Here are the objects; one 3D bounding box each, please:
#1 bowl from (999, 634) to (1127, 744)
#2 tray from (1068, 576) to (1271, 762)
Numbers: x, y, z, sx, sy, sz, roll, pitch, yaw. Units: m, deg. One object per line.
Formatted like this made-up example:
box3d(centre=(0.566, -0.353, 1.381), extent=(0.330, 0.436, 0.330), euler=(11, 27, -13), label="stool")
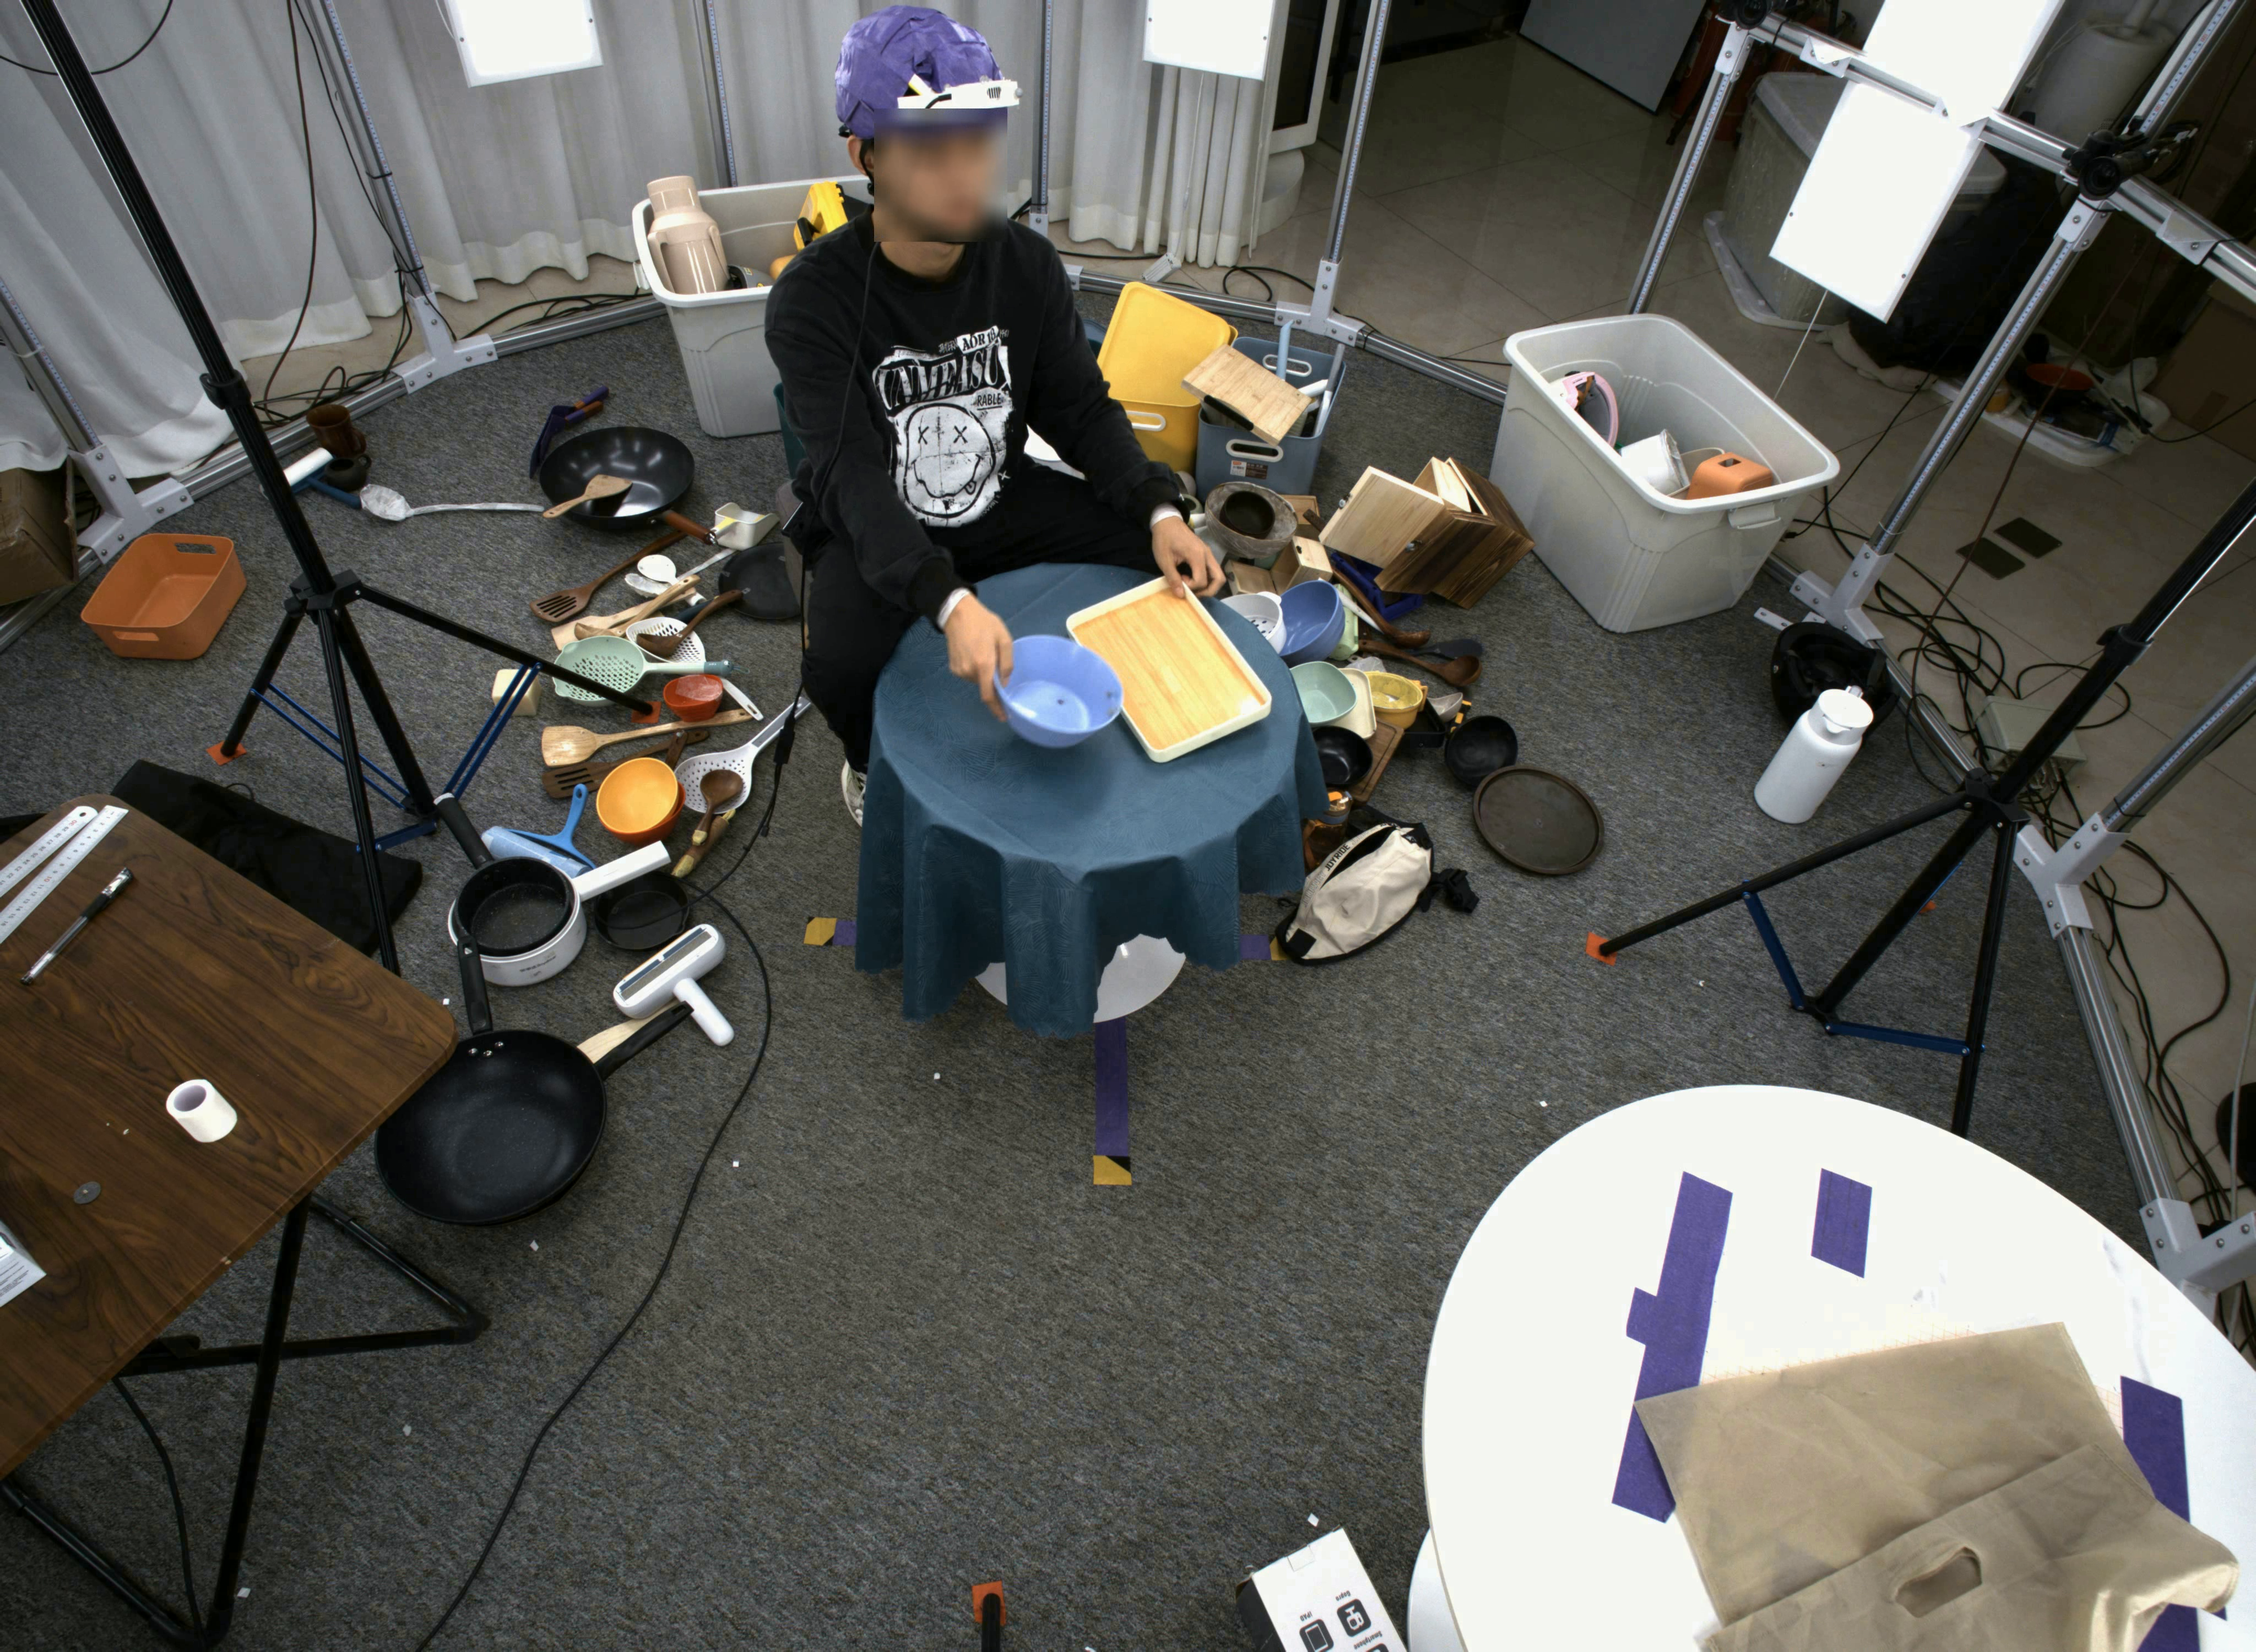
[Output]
box3d(centre=(-0.095, -0.174, 1.716), extent=(0.175, 0.069, 0.180), euler=(12, 46, -13), label="bowl")
box3d(centre=(0.056, -0.232, 1.853), extent=(0.192, 0.027, 0.307), euler=(-24, 54, -11), label="tray")
